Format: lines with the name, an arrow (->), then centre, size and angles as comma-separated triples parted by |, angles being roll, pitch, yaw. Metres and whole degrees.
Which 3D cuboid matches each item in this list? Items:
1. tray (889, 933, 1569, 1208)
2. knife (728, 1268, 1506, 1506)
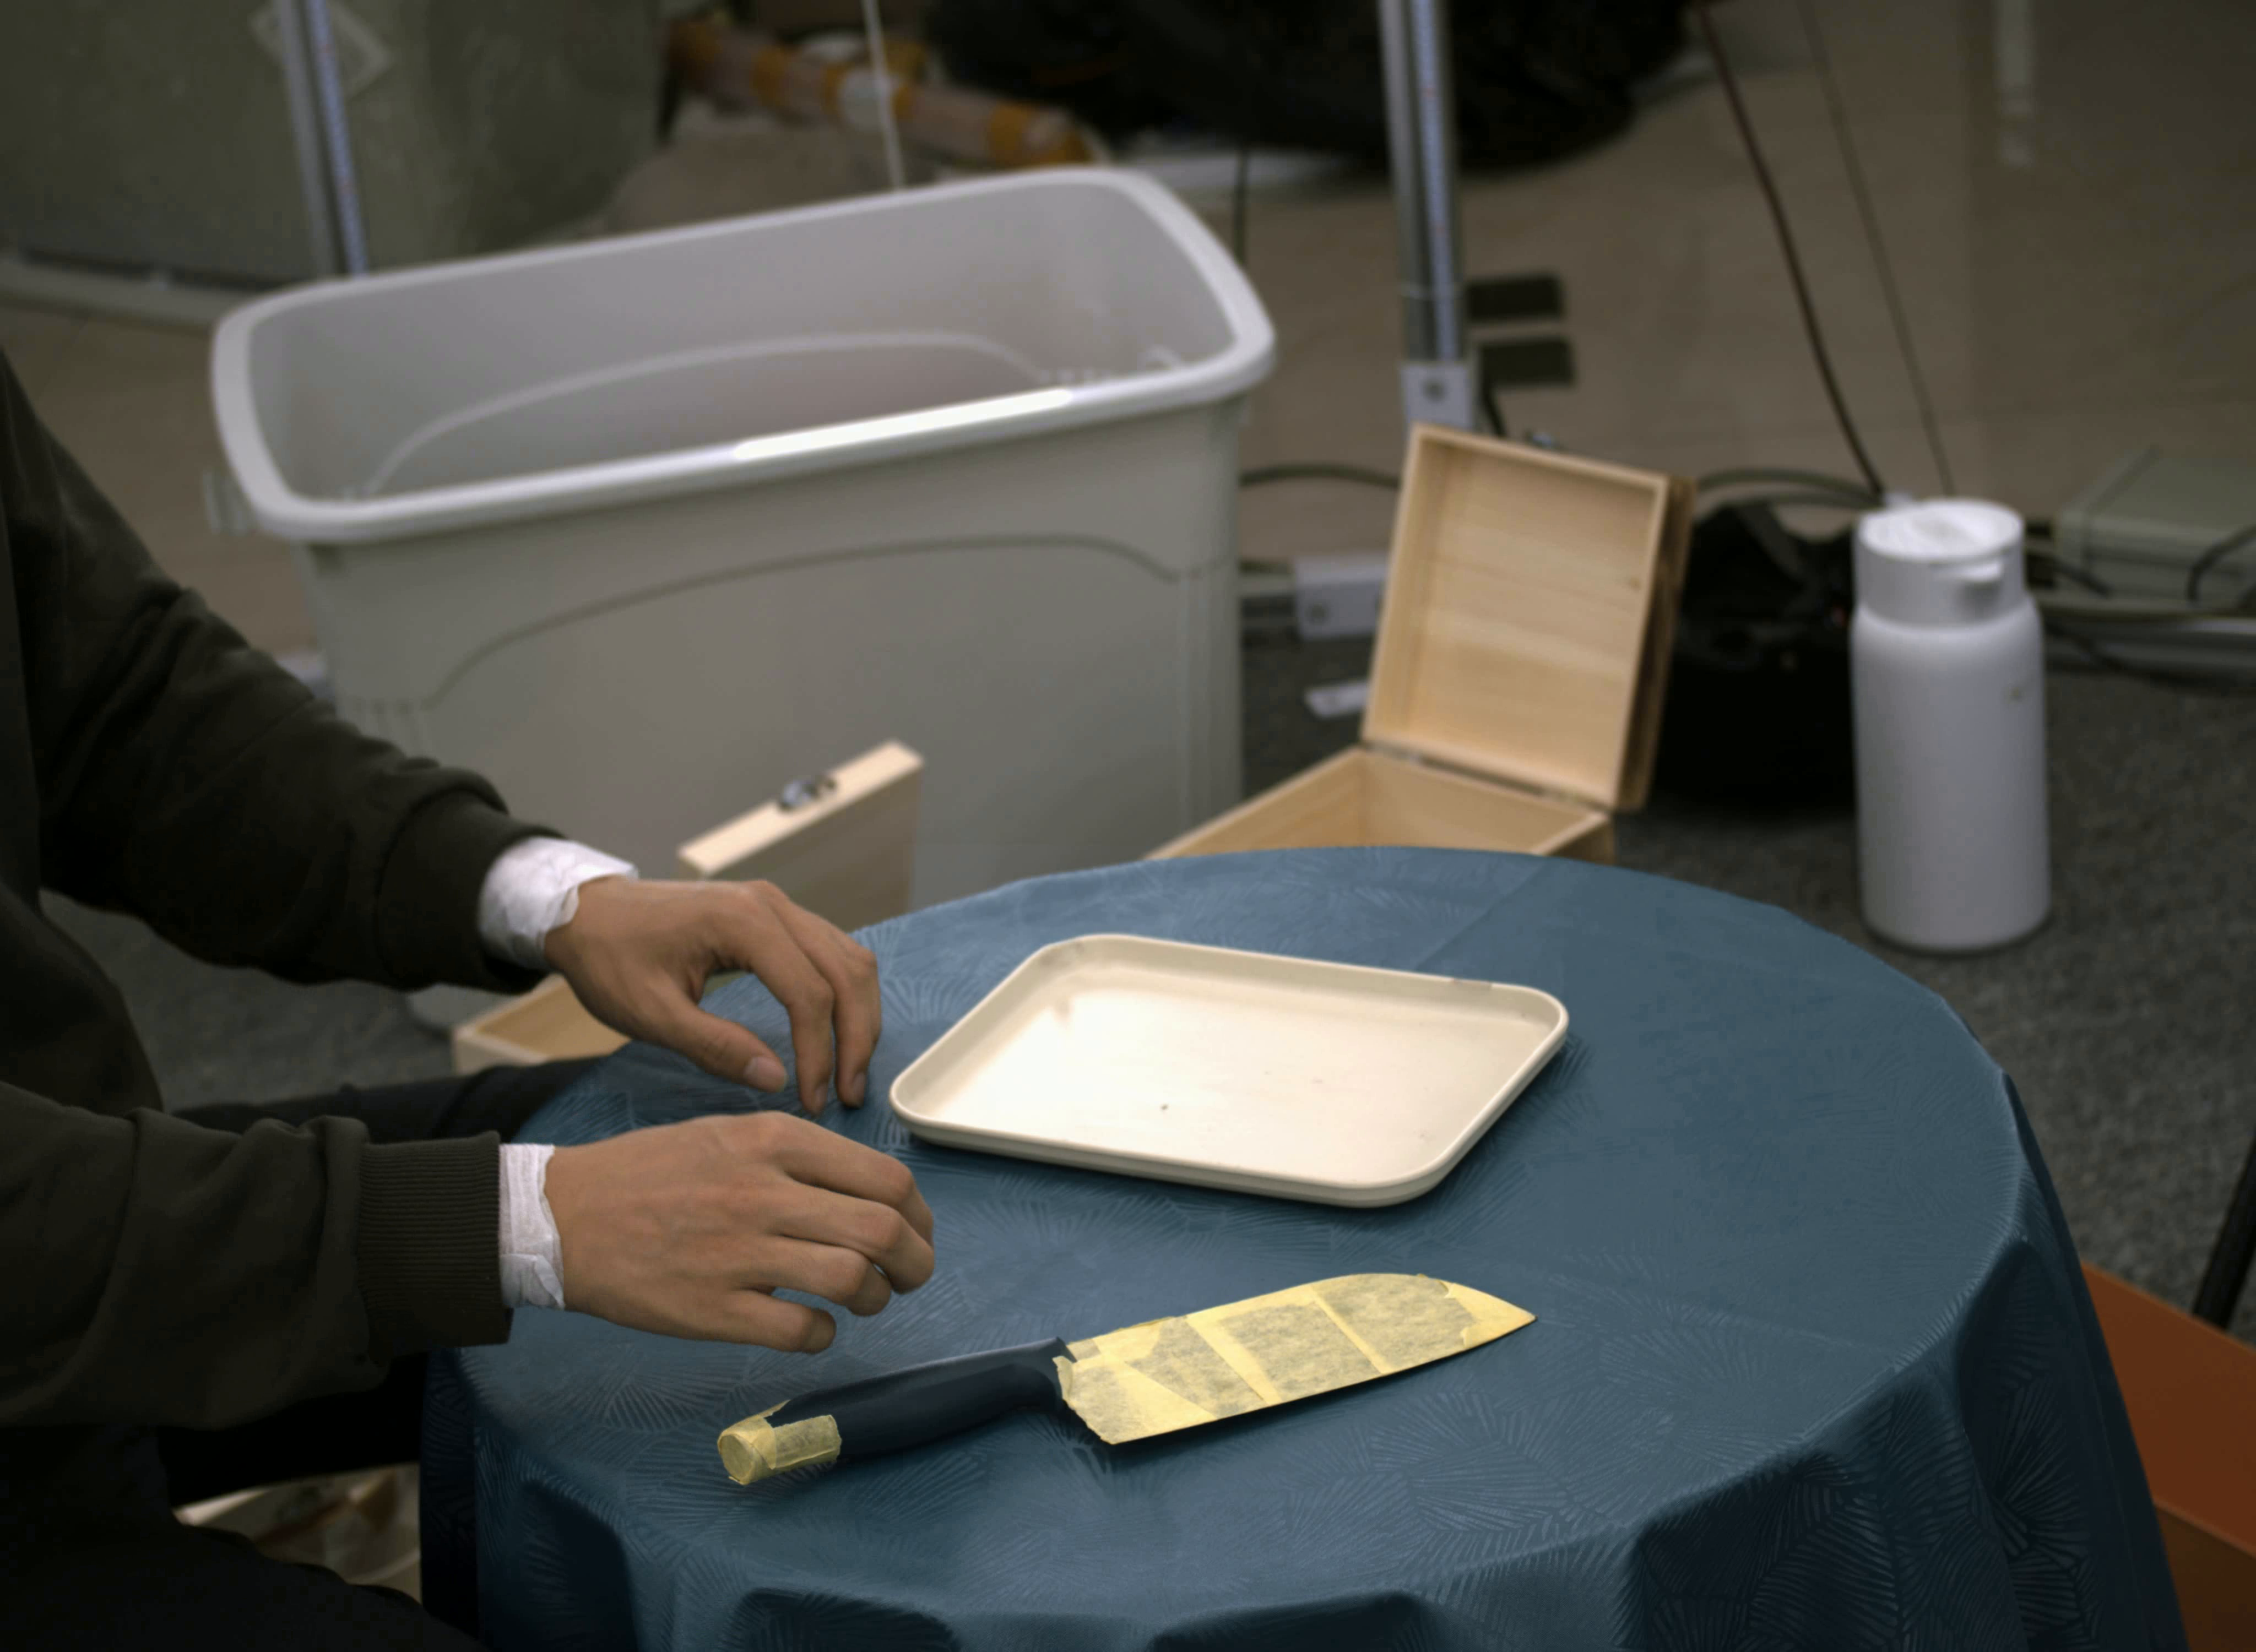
tray -> 0.040, 0.095, 2.215 | 0.239, 0.018, 0.169 | 7, 29, 27
knife -> 0.000, 0.198, 2.006 | 0.288, 0.027, 0.080 | -13, 24, -16
